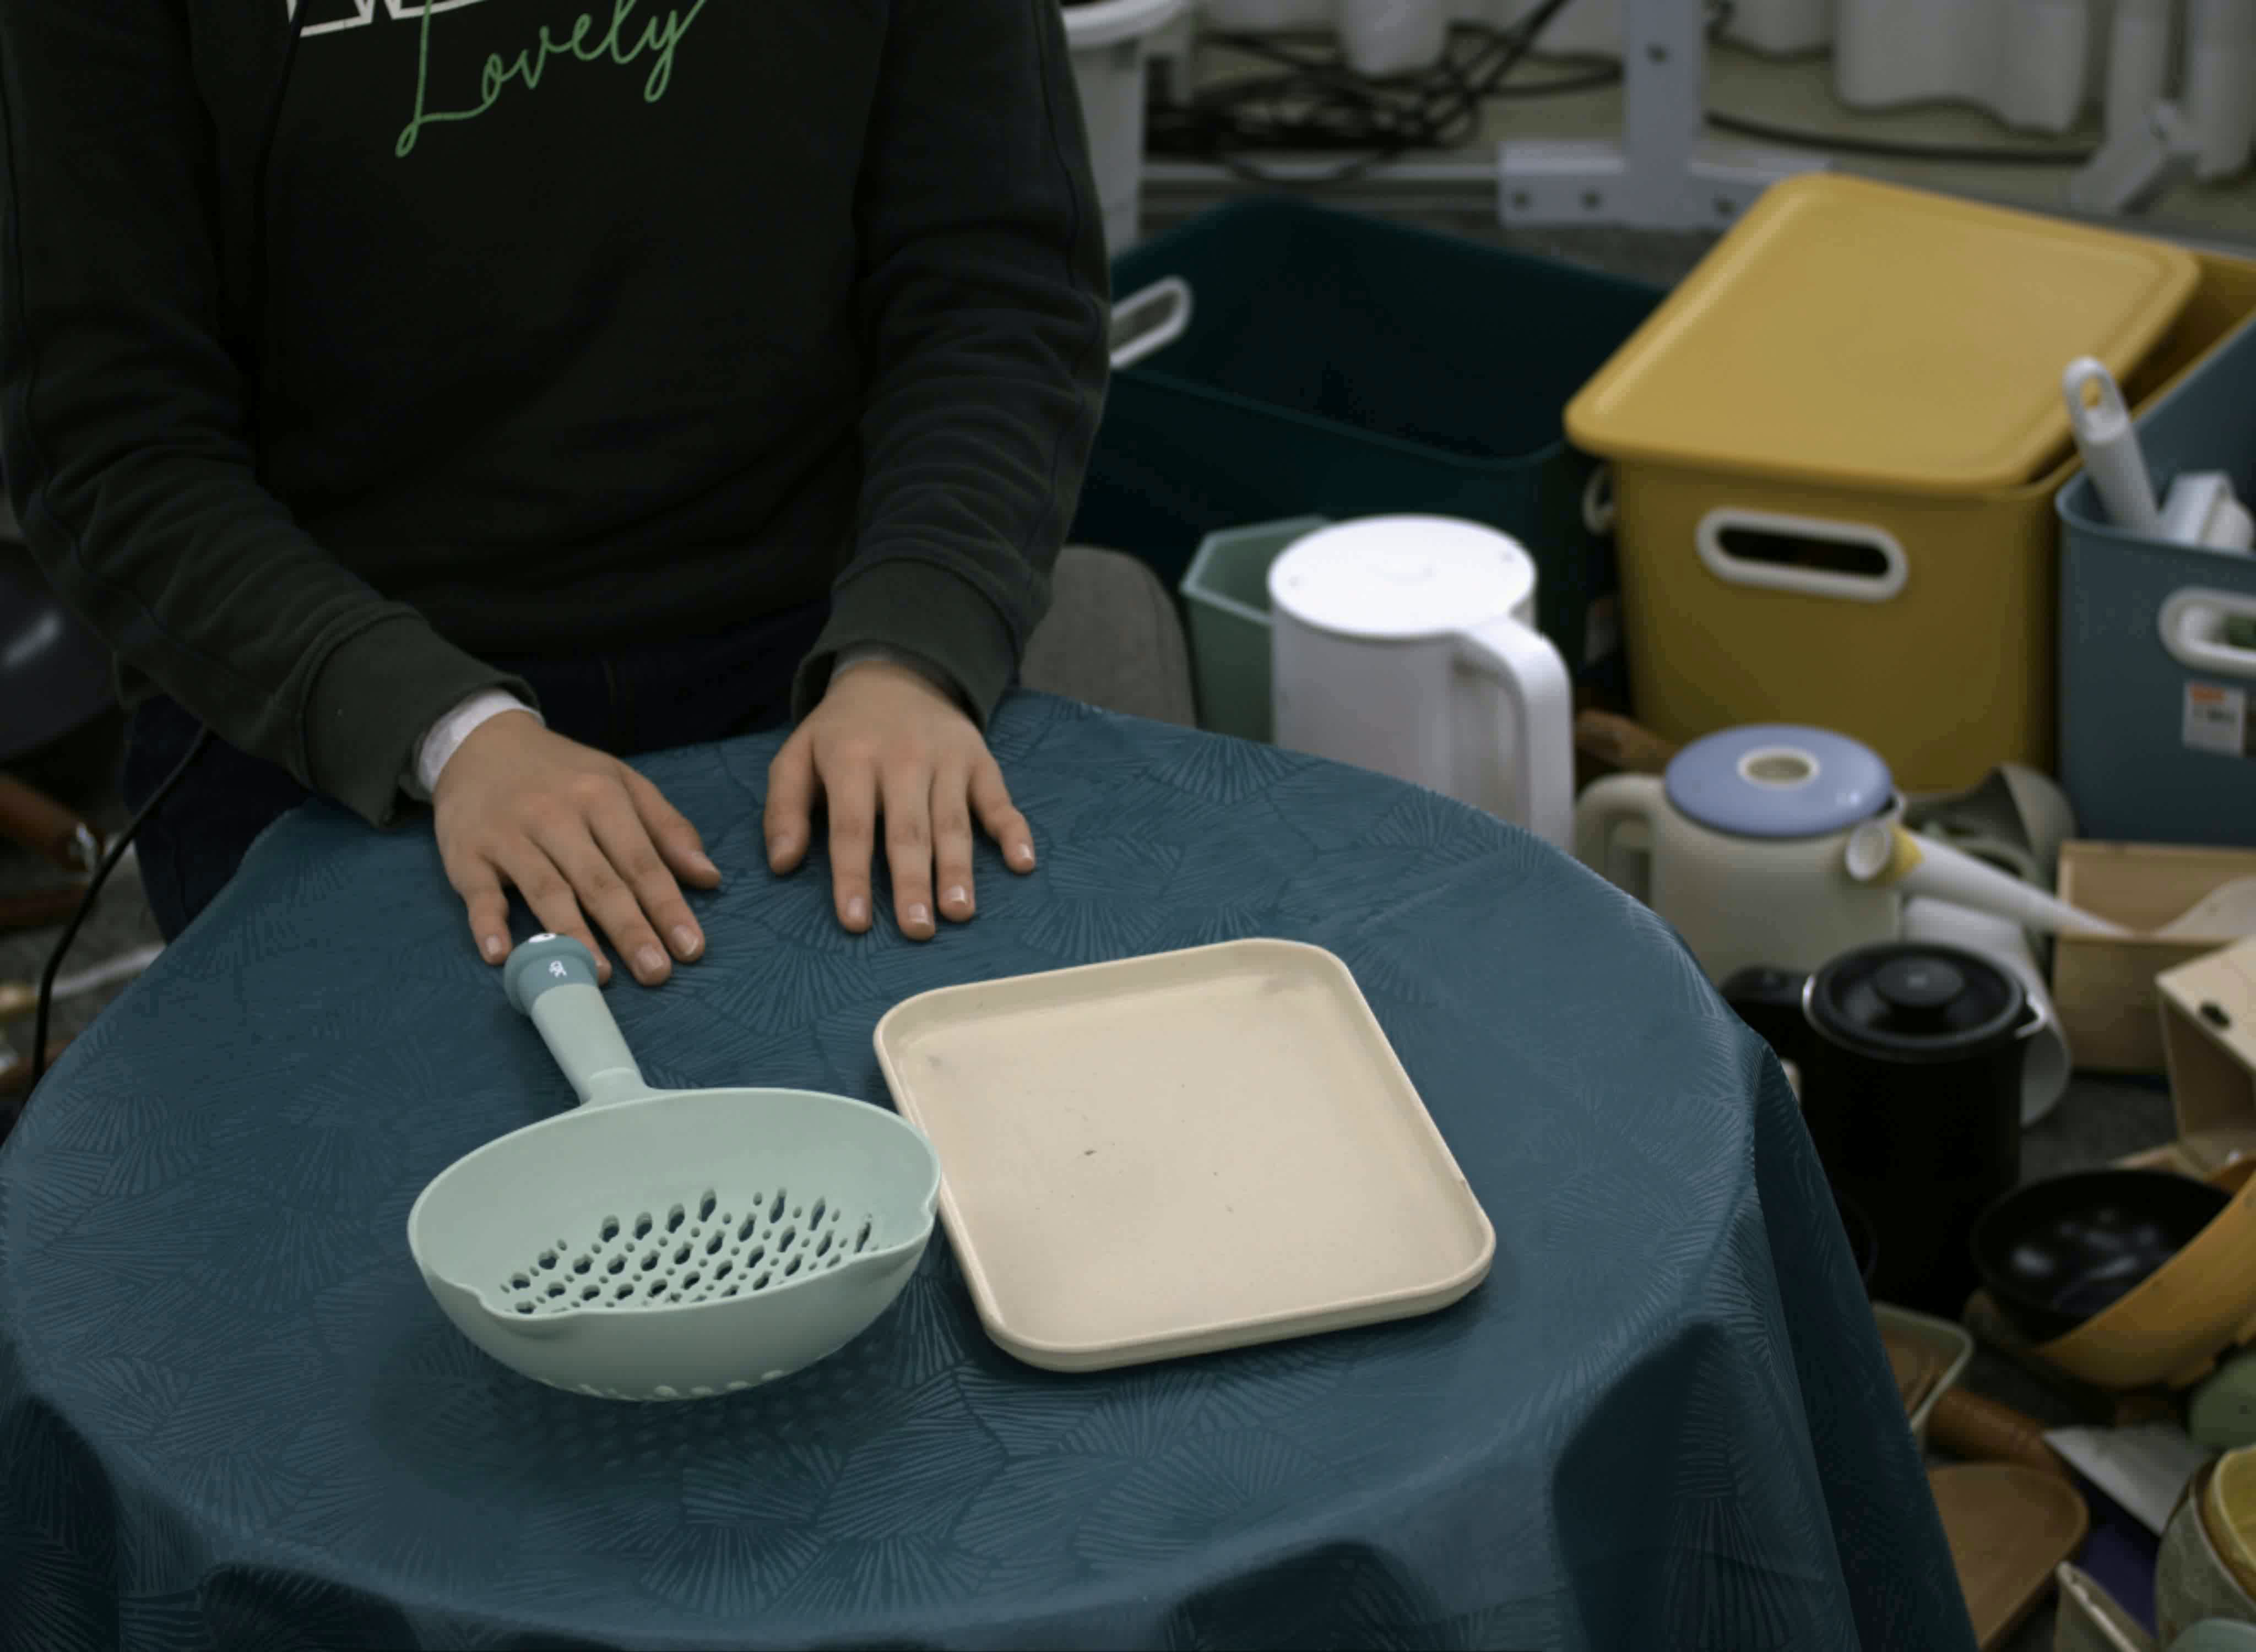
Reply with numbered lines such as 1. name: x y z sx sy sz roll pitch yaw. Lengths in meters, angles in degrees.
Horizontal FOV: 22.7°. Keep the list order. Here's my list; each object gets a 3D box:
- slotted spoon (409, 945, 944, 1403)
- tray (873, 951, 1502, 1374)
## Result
1. slotted spoon: -0.166 0.099 1.855 0.169 0.074 0.362 -9 27 -13
2. tray: 0.016 0.110 1.864 0.171 0.017 0.242 -8 27 -11
